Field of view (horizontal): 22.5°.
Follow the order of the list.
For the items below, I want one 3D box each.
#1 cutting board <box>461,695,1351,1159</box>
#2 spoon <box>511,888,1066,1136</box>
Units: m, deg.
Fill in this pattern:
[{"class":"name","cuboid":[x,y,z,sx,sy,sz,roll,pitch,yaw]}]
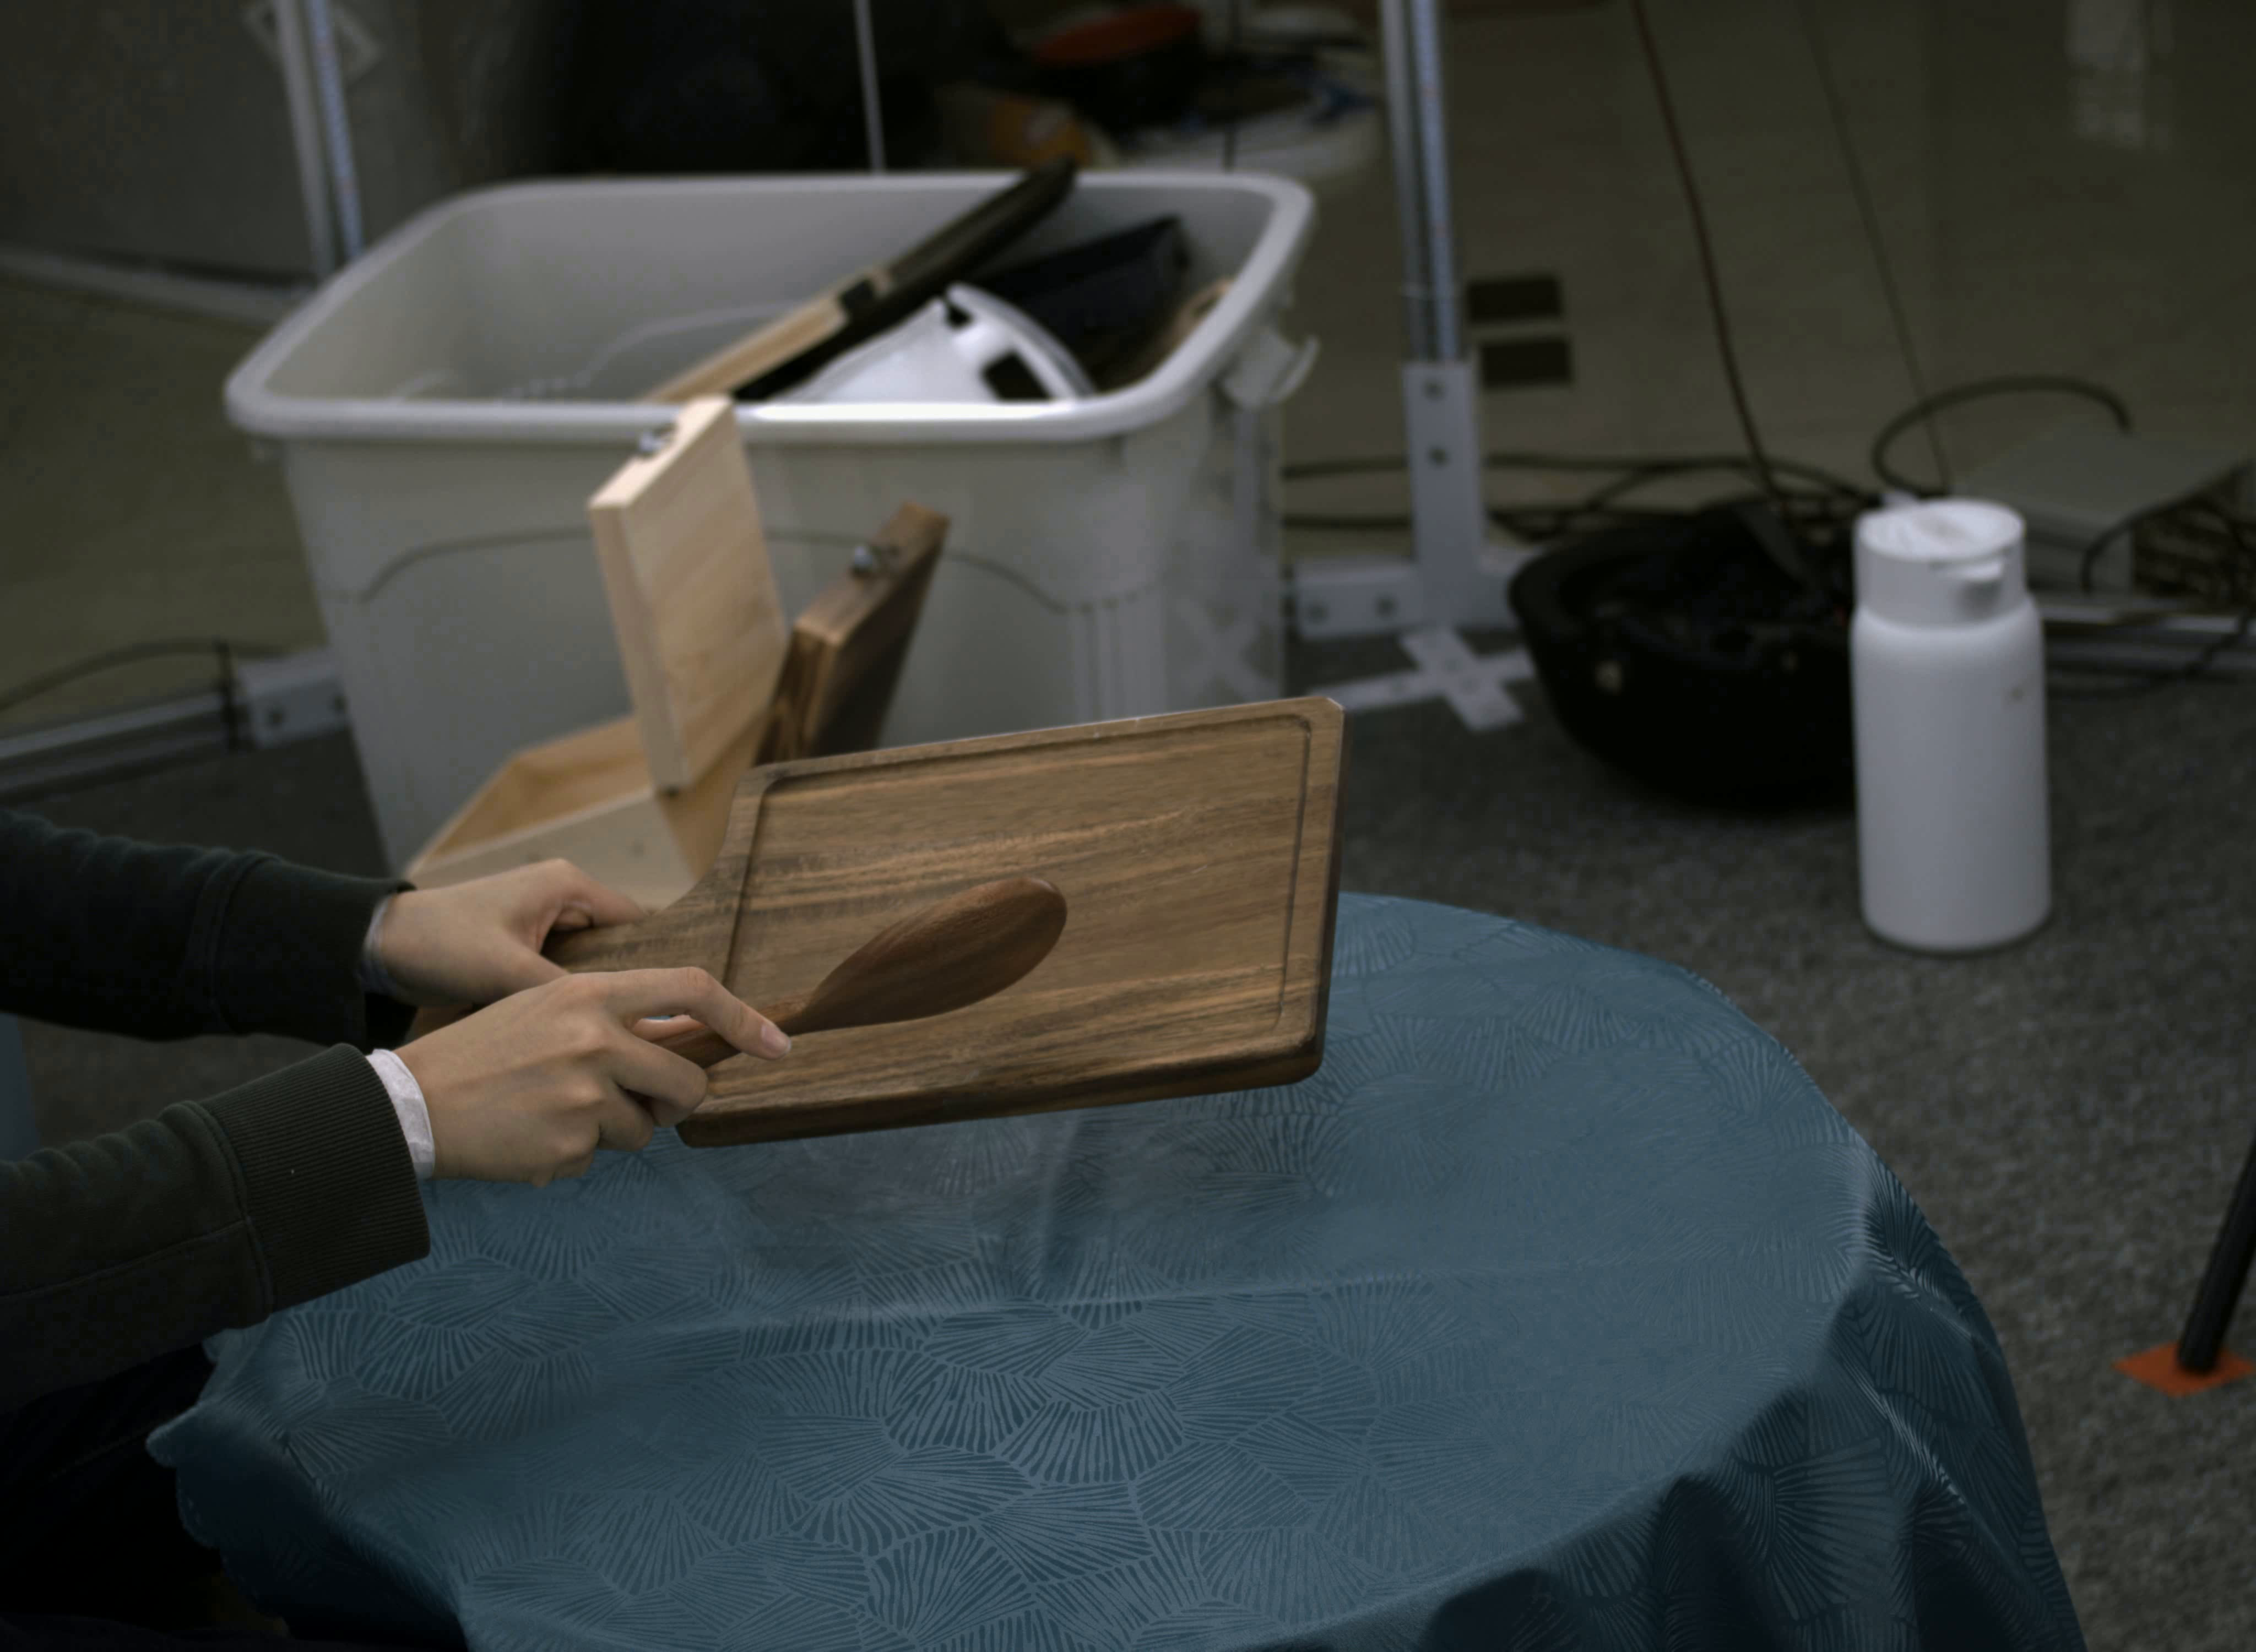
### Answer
[{"class":"cutting board","cuboid":[-0.089,0.043,2.180,0.352,0.023,0.197,-7,44,14]},{"class":"spoon","cuboid":[-0.120,0.070,2.049,0.215,0.076,0.017,-19,66,-13]}]
